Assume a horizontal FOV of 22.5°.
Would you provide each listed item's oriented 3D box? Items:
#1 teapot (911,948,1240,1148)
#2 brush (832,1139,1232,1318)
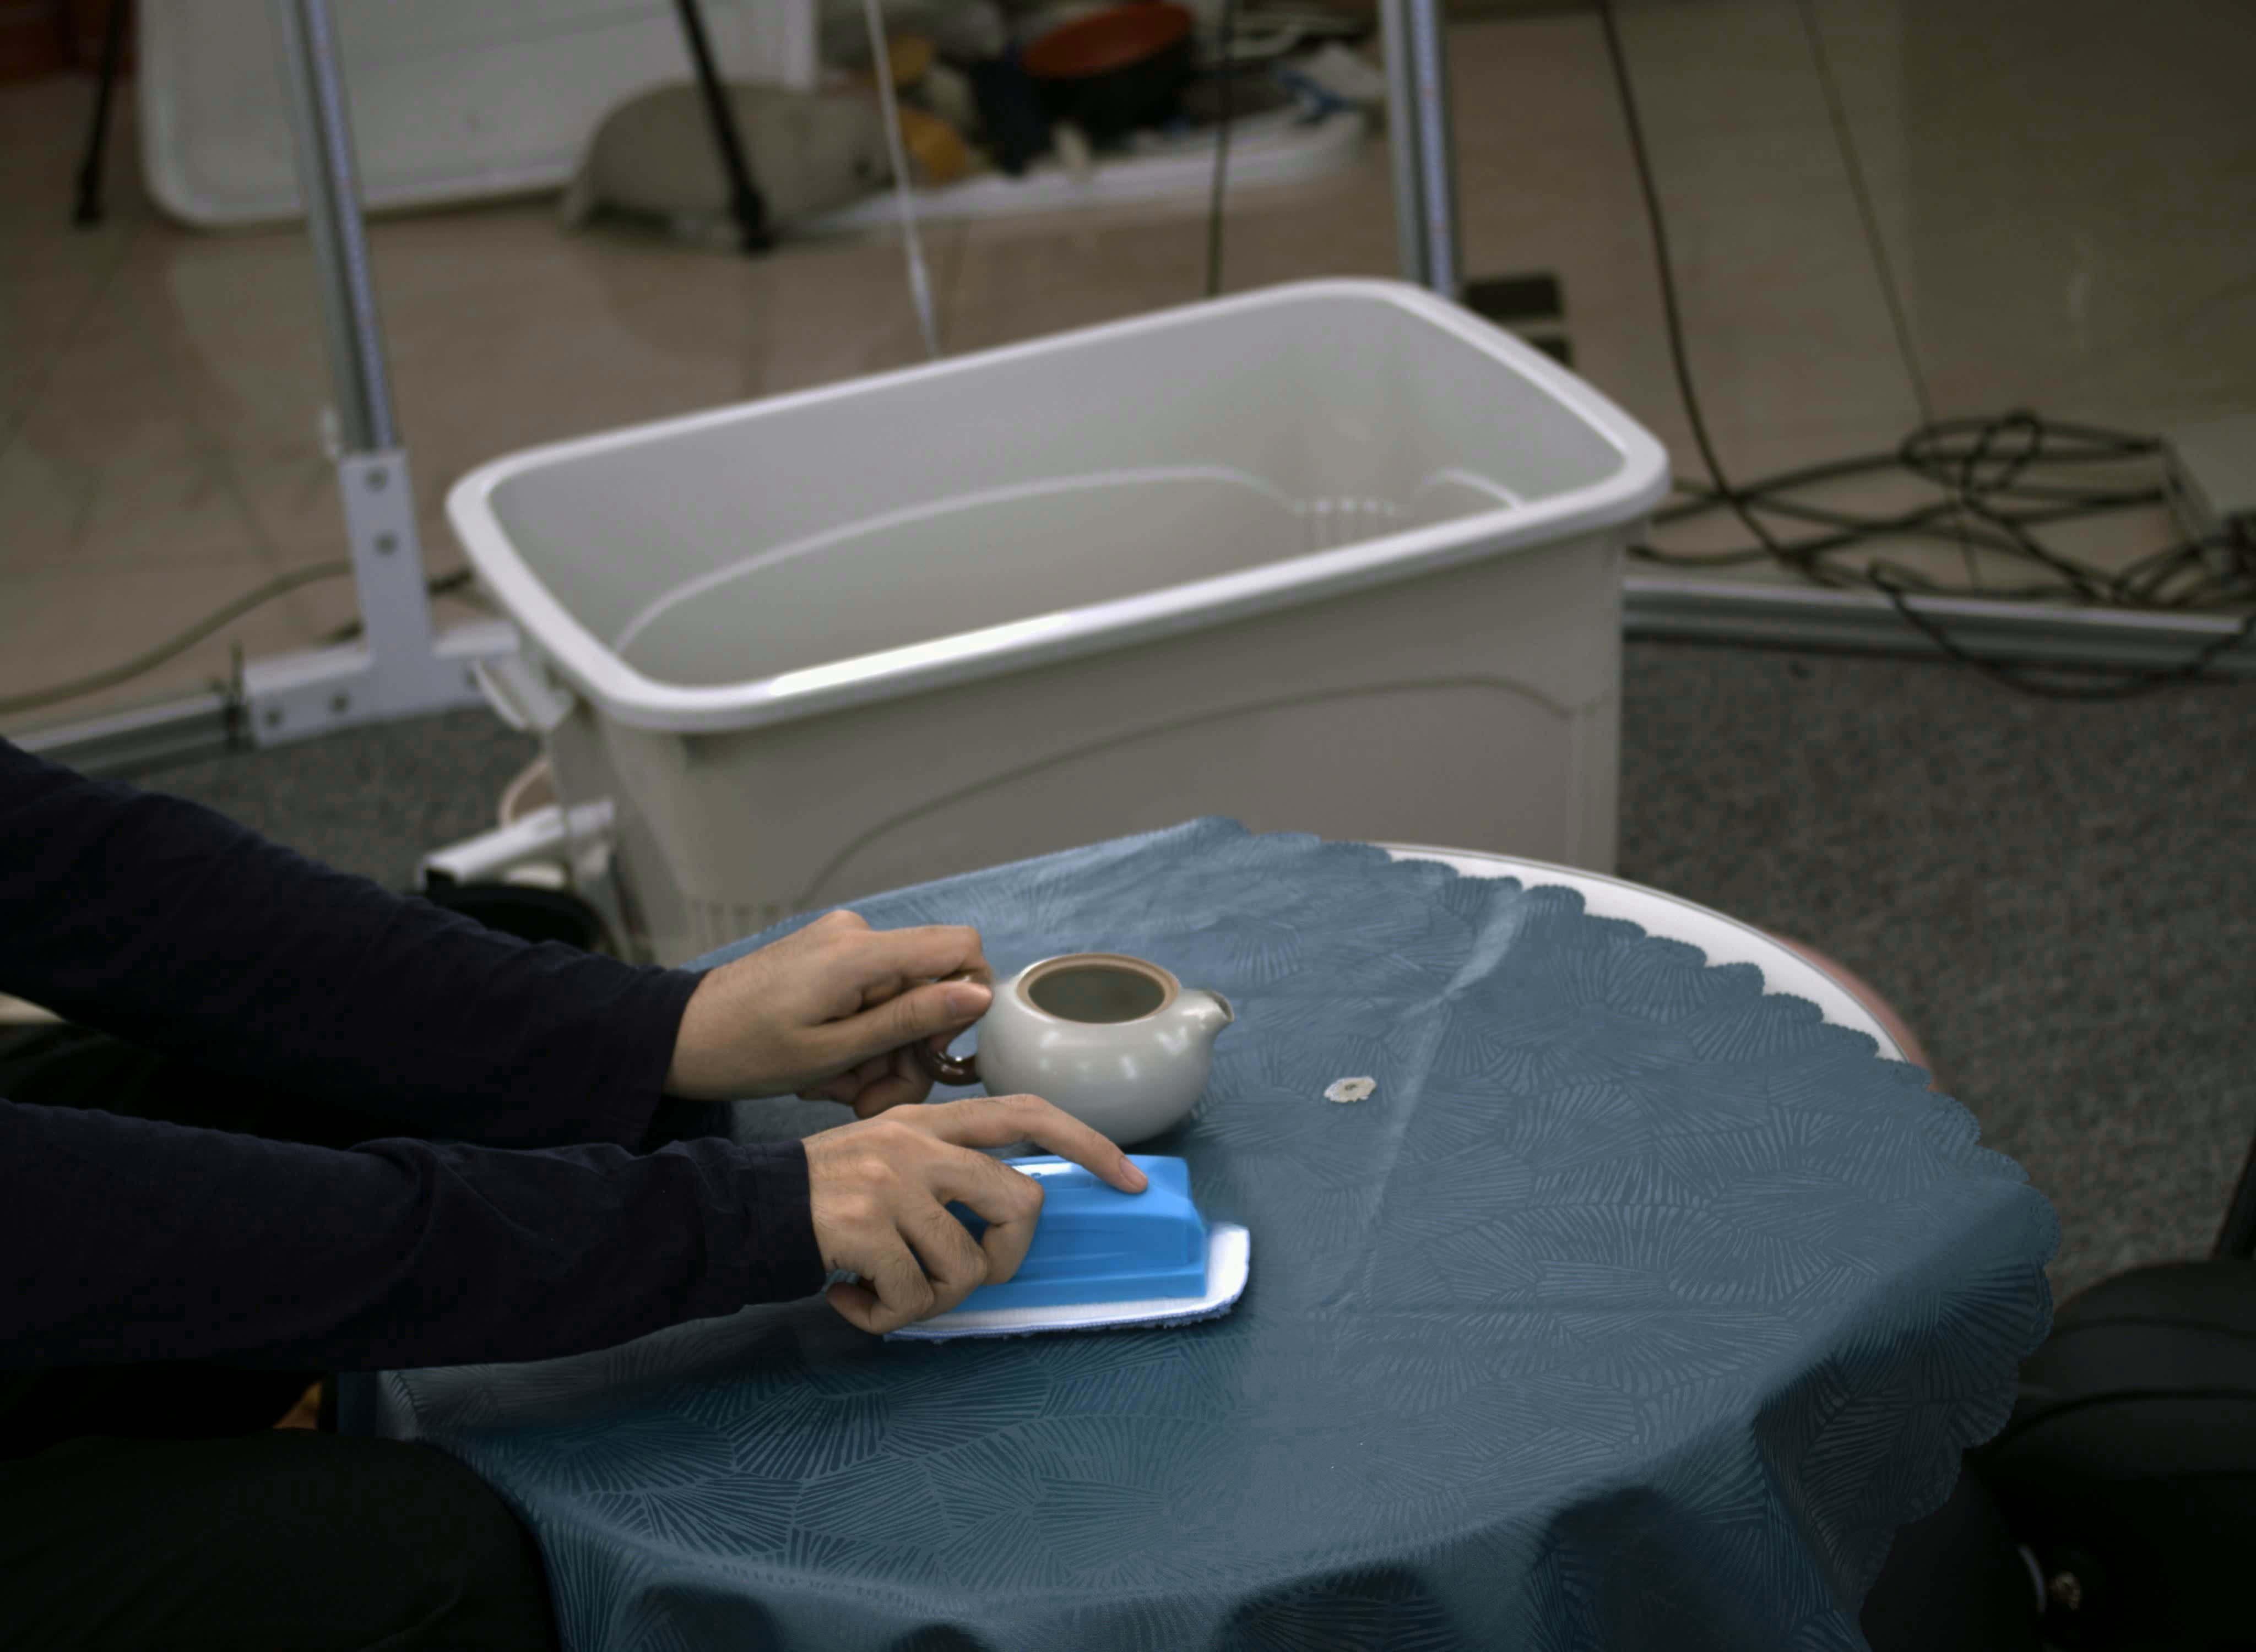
[{"bbox_3d":[-0.021,0.084,2.188,0.128,0.060,0.090,7,29,7],"label":"teapot"},{"bbox_3d":[-0.035,0.145,2.070,0.144,0.057,0.083,-1,22,6],"label":"brush"}]
